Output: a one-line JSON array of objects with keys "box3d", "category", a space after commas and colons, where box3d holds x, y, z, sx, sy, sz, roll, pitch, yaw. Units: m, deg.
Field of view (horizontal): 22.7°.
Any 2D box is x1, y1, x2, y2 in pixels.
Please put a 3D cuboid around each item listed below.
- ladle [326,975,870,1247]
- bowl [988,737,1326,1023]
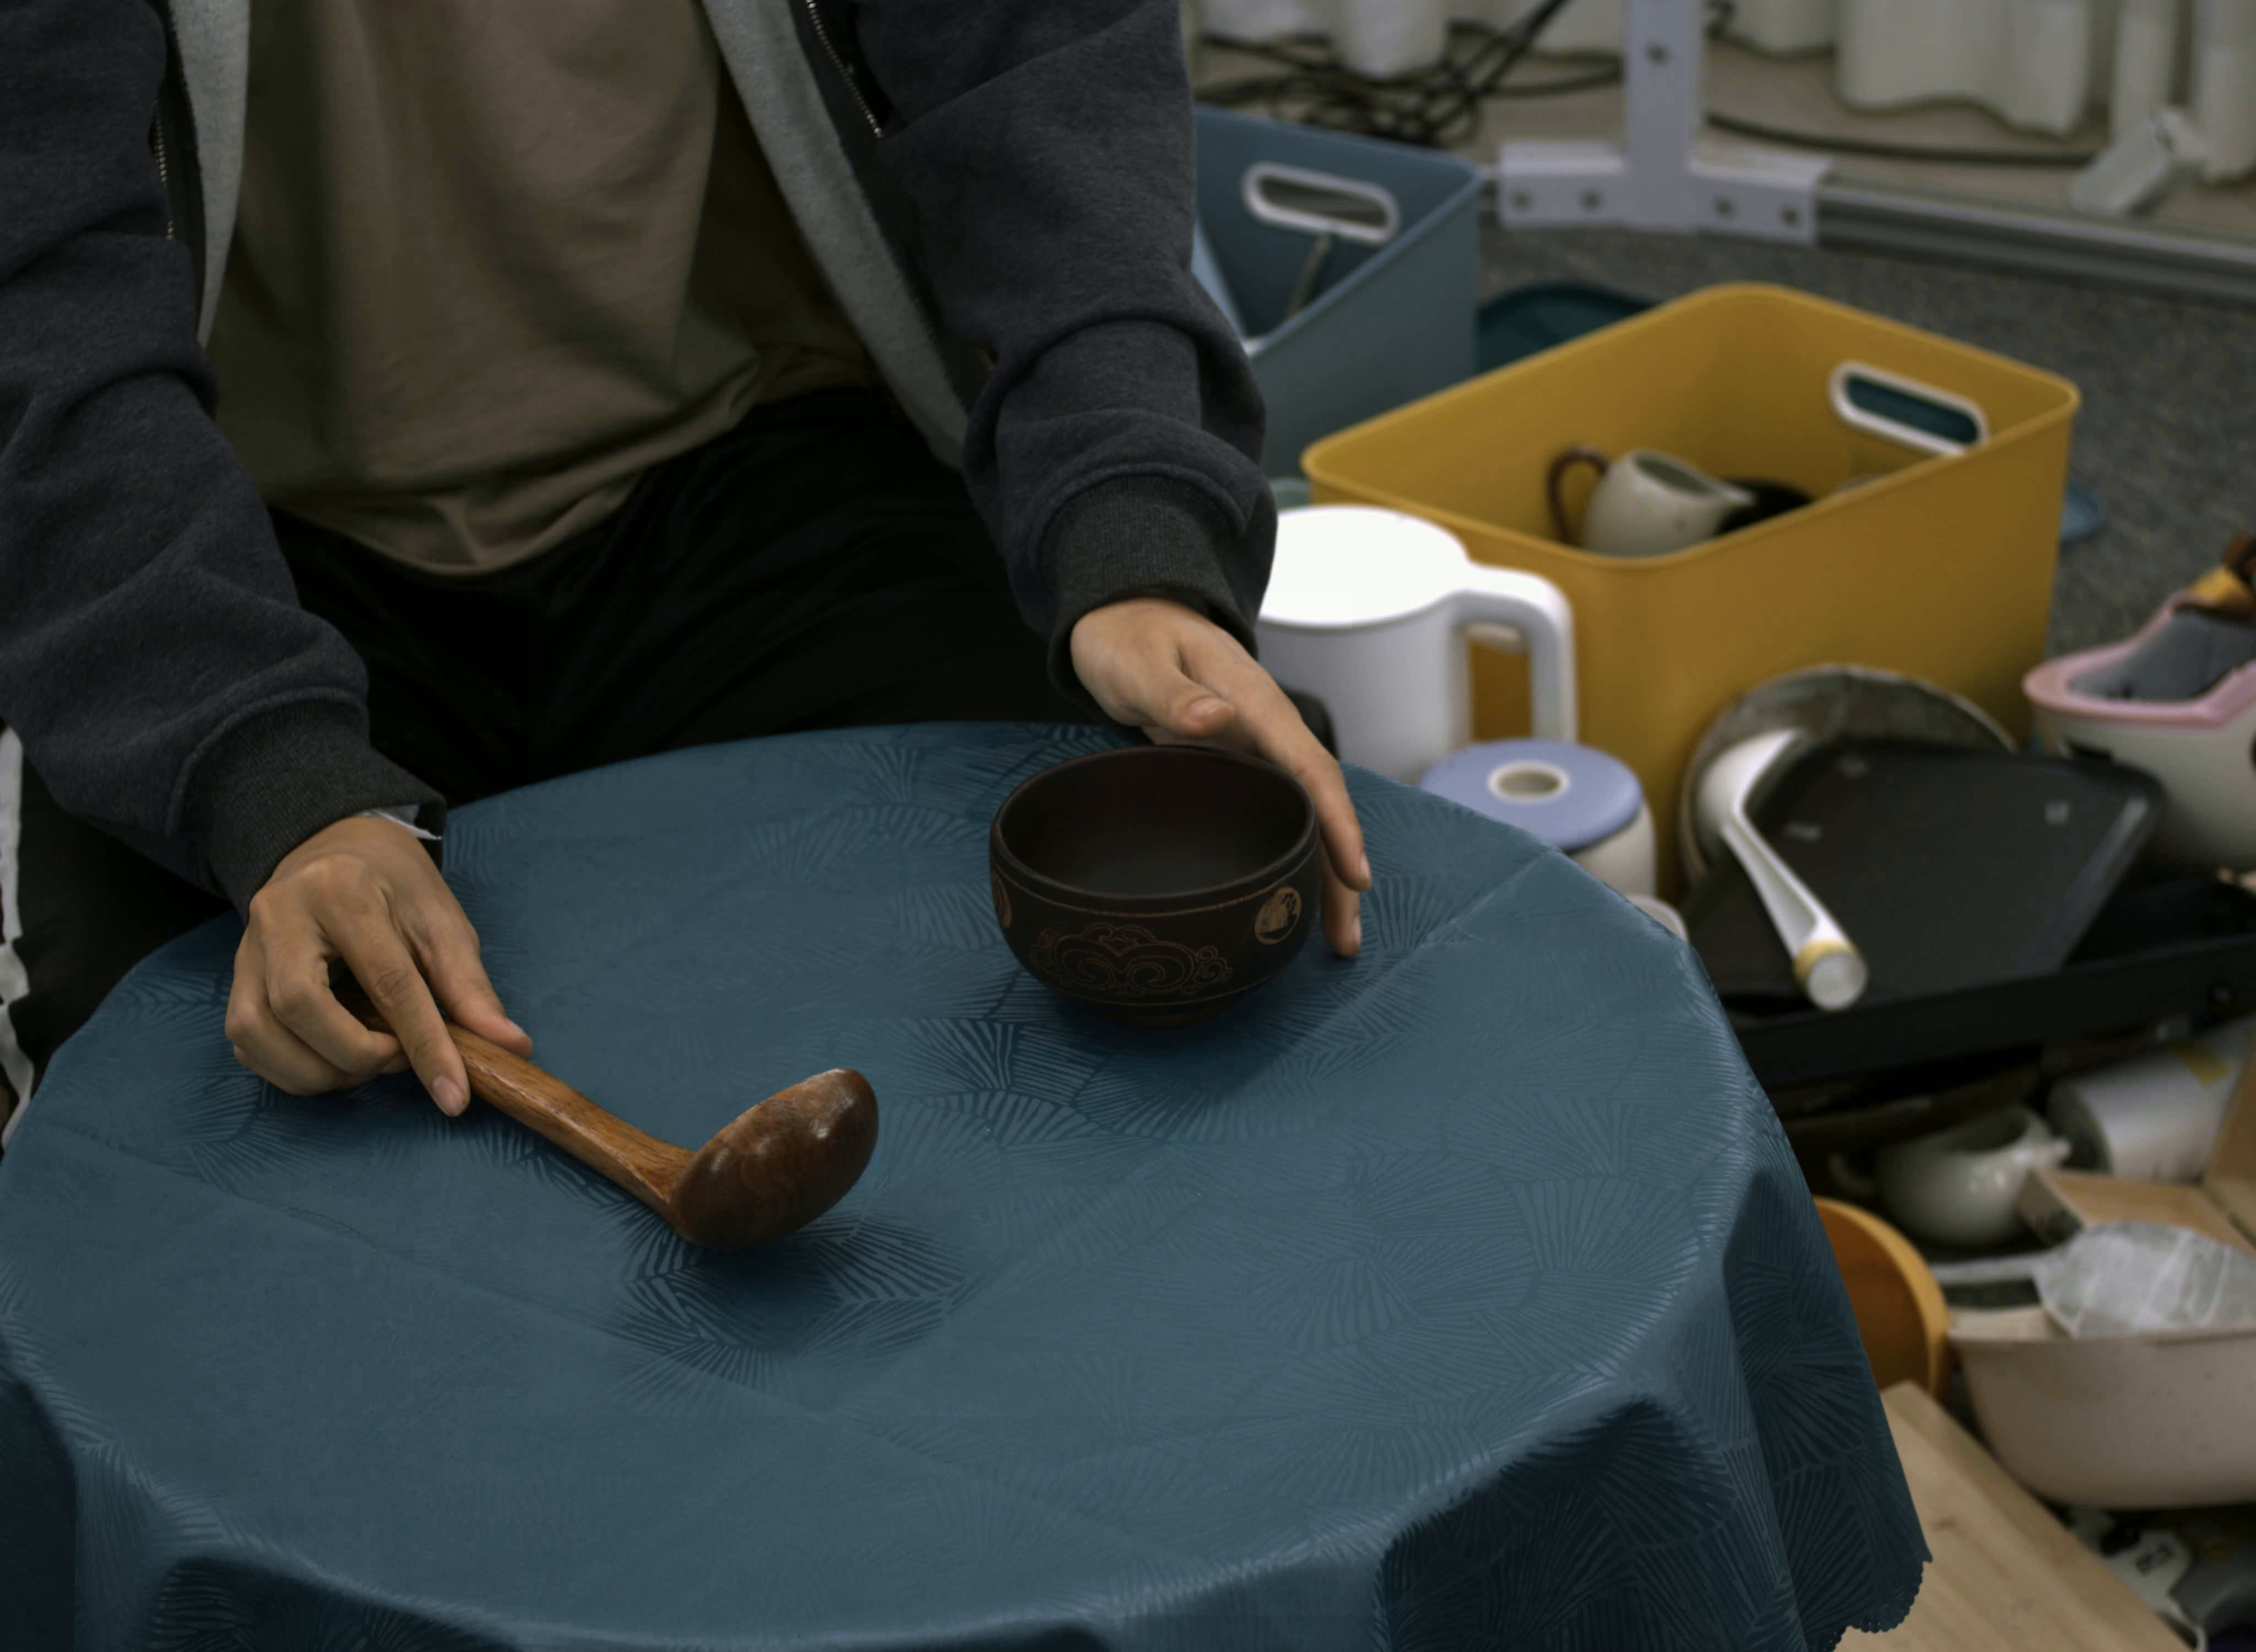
[{"box3d": [-0.190, 0.074, 1.887, 0.082, 0.076, 0.274, -18, 30, -38], "category": "ladle"}, {"box3d": [0.011, 0.025, 1.967, 0.117, 0.069, 0.120, -3, 28, 2], "category": "bowl"}]
